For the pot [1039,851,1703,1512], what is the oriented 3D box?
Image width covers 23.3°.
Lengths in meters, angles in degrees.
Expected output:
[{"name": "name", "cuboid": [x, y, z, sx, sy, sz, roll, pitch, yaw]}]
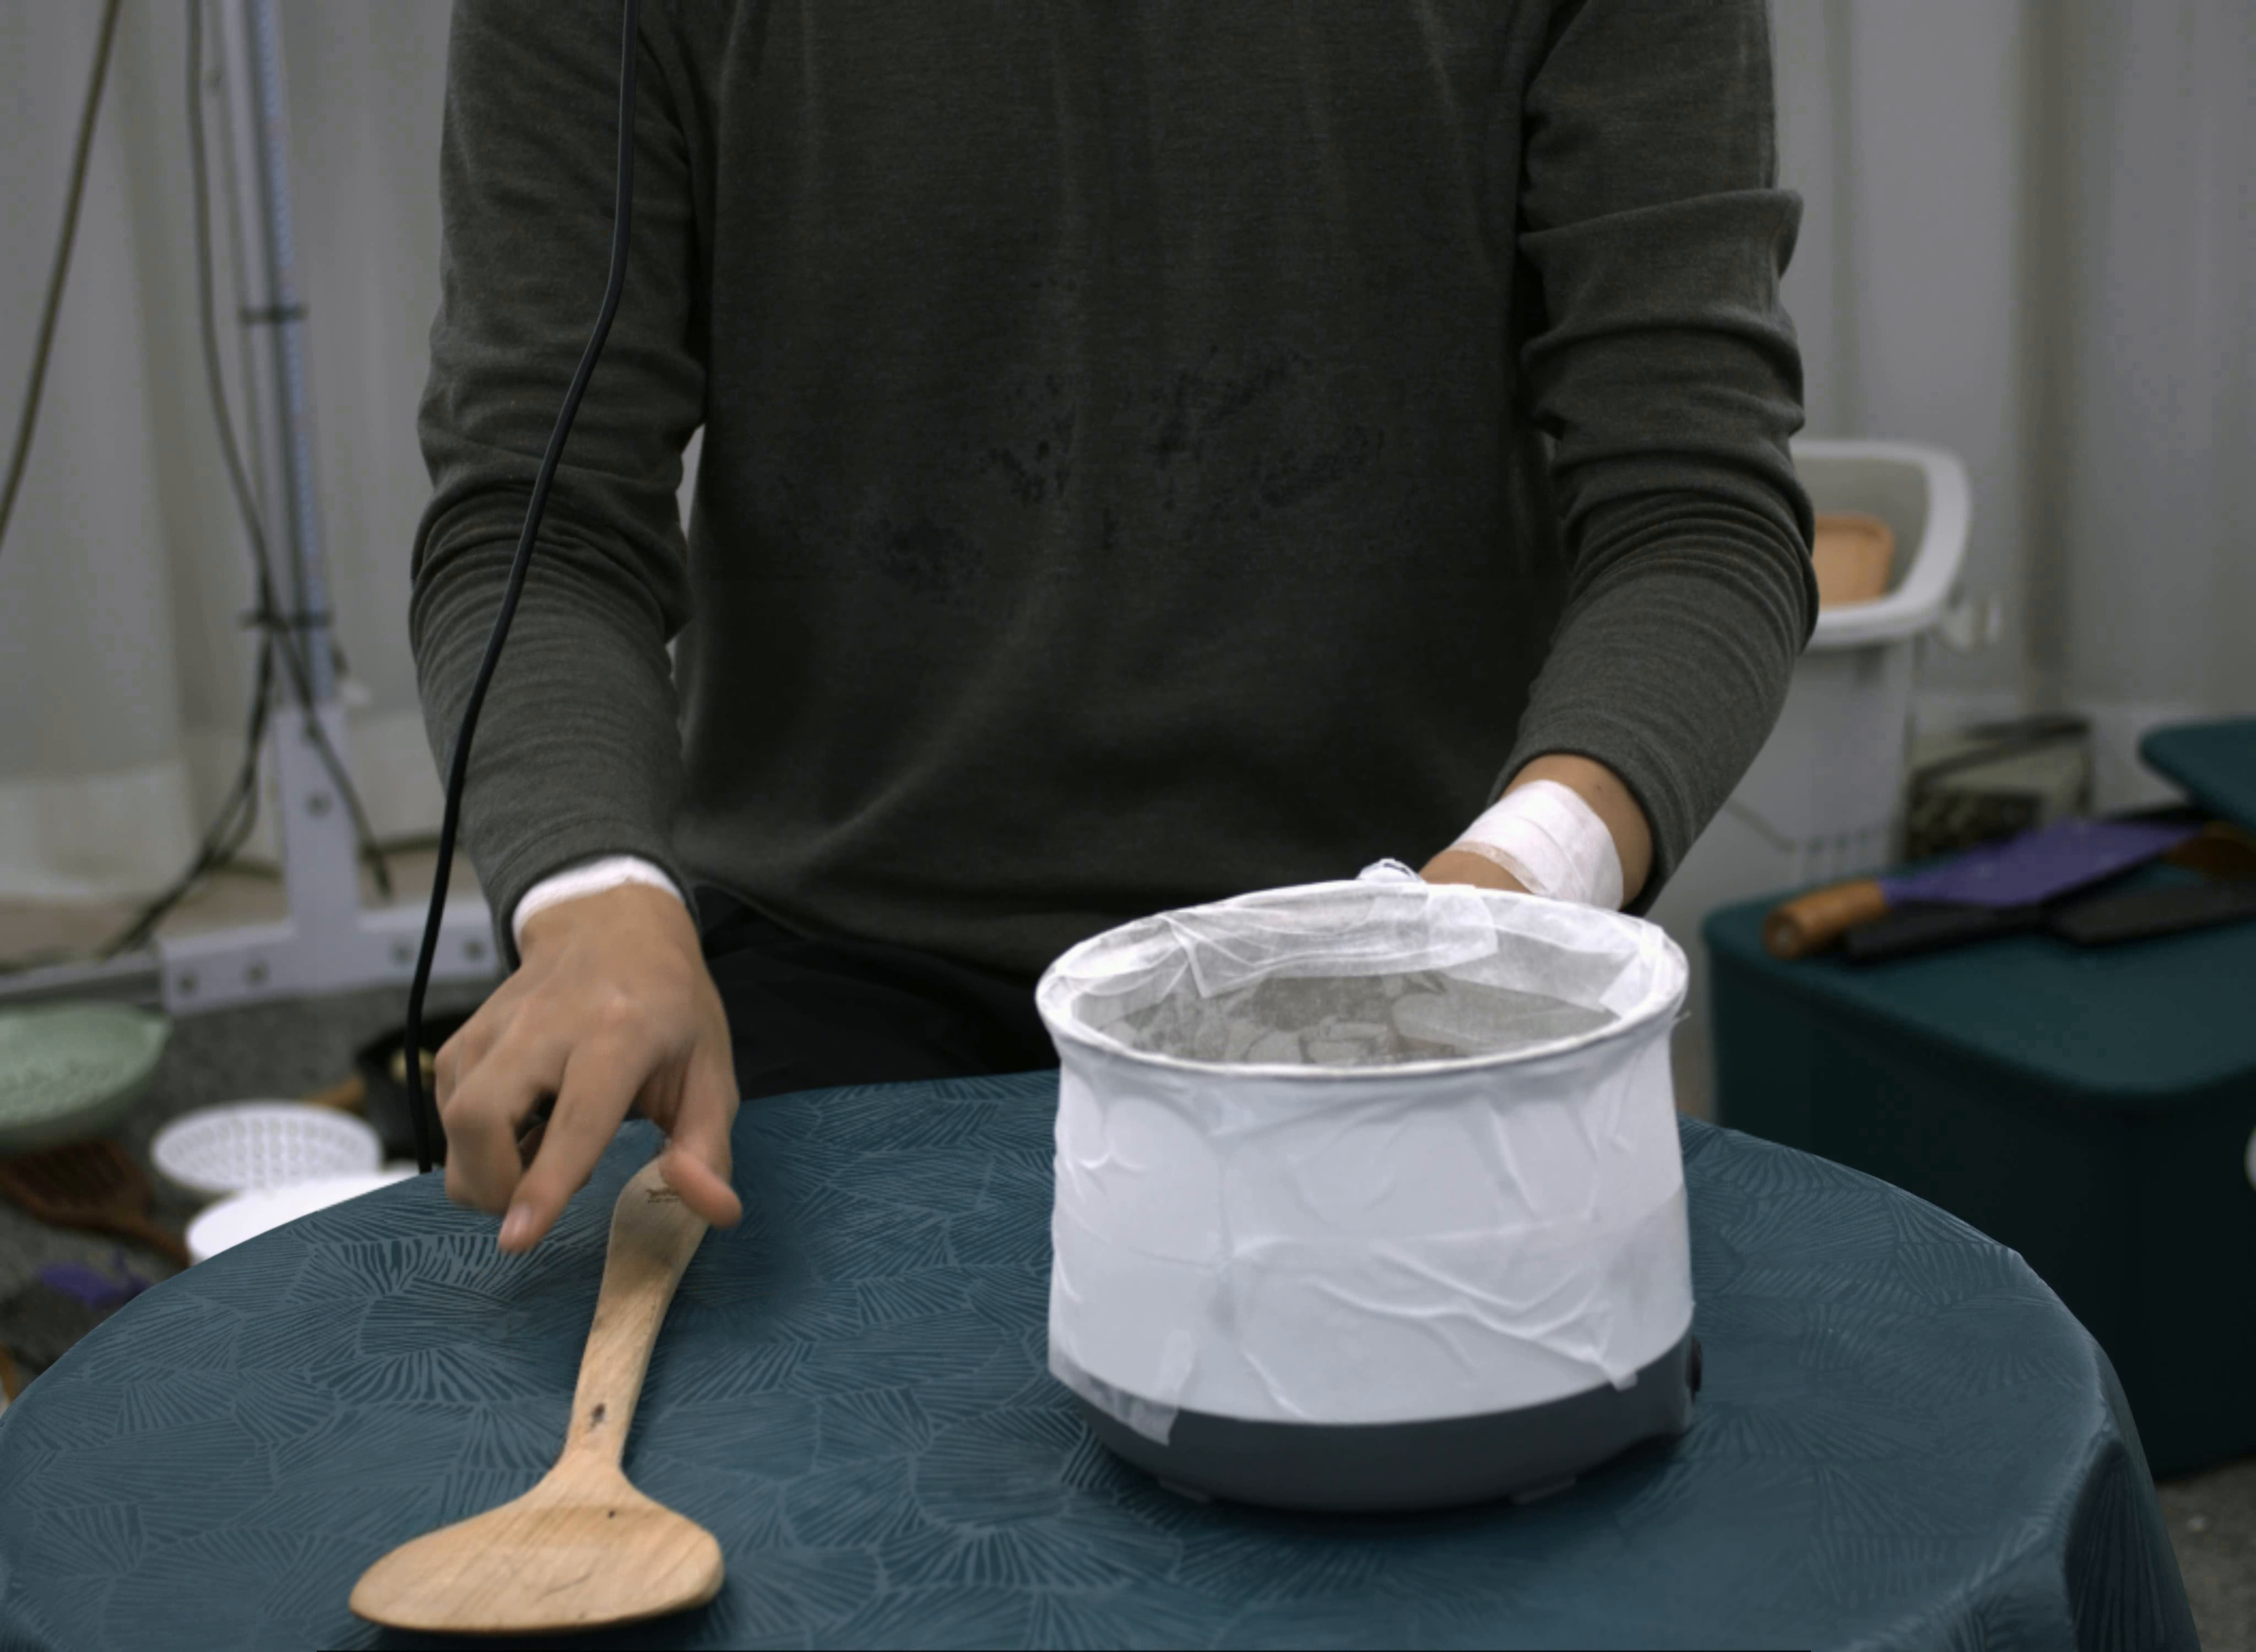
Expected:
[{"name": "pot", "cuboid": [0.069, 0.092, 1.517, 0.178, 0.136, 0.235, -1, 15, 6]}]

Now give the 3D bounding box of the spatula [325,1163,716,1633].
[{"name": "spatula", "cuboid": [-0.153, 0.156, 1.555, 0.095, 0.018, 0.393, -1, 15, 1]}]
